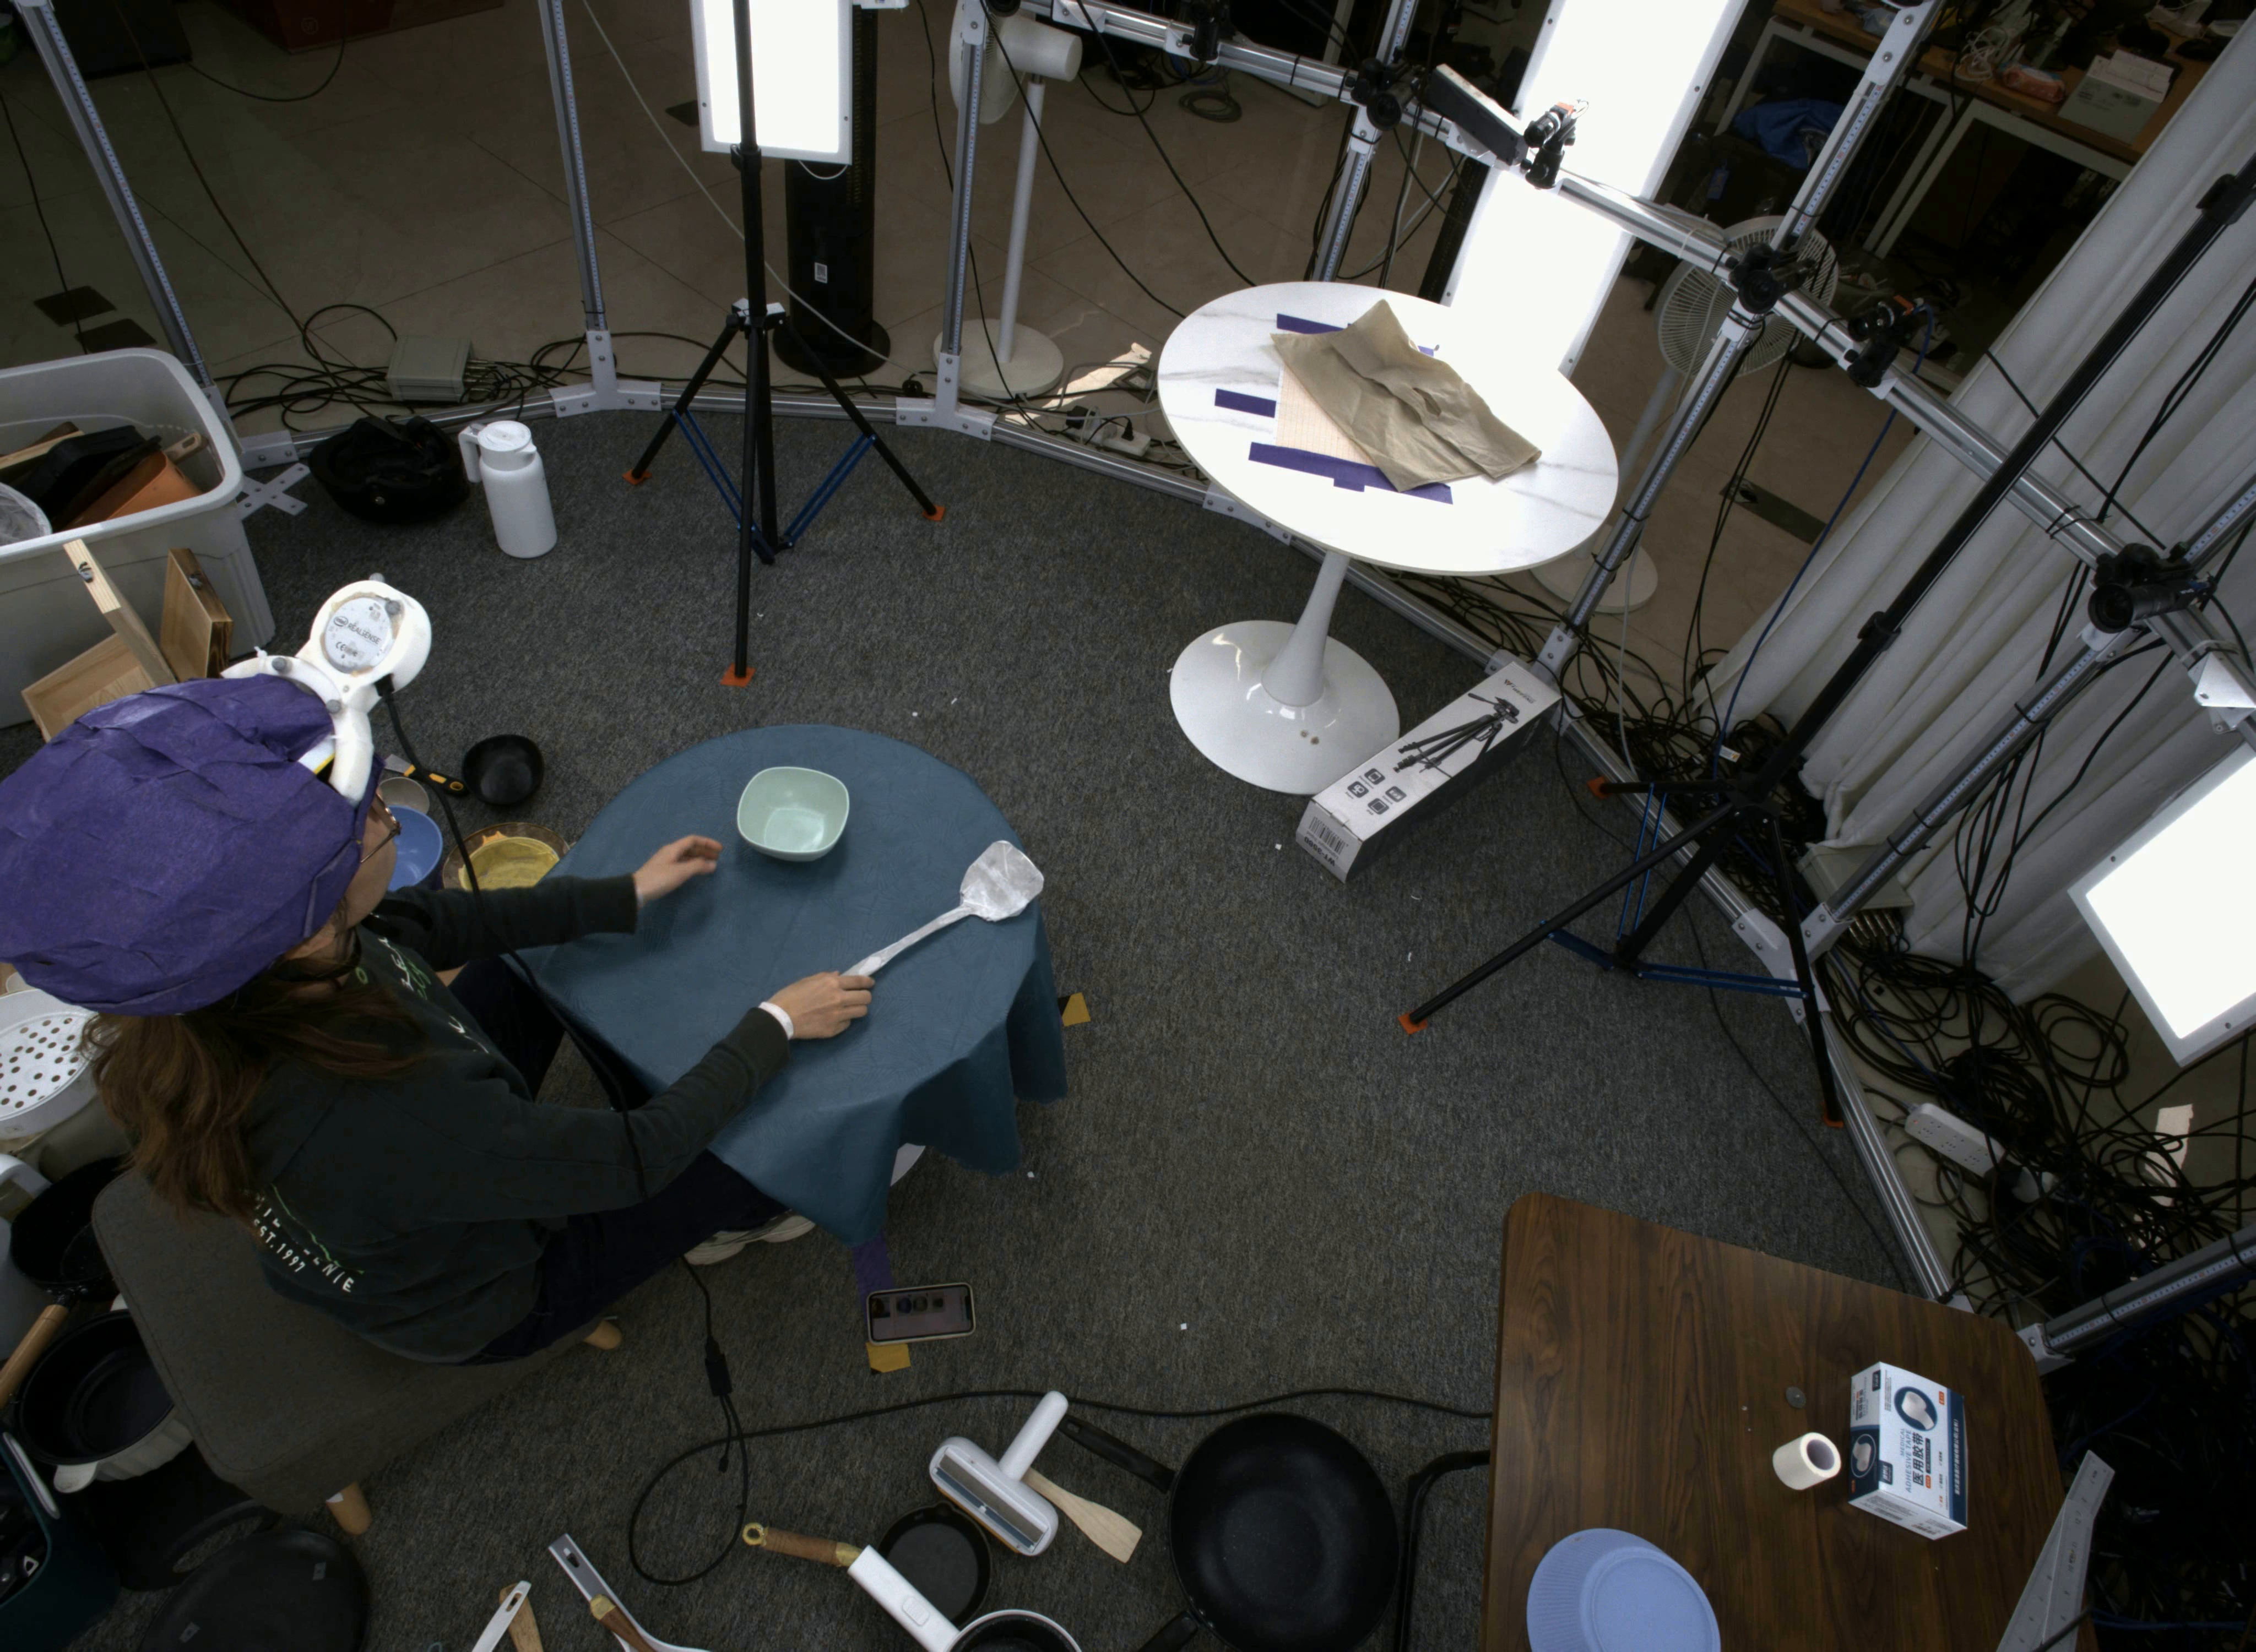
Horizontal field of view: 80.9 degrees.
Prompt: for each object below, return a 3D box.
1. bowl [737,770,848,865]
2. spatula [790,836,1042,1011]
[{"bbox_3d":[-0.437,-0.003,1.695,0.151,0.060,0.148,8,51,-8],"label":"bowl"},{"bbox_3d":[-0.268,0.131,1.647,0.366,0.045,0.096,-32,69,-32],"label":"spatula"}]
